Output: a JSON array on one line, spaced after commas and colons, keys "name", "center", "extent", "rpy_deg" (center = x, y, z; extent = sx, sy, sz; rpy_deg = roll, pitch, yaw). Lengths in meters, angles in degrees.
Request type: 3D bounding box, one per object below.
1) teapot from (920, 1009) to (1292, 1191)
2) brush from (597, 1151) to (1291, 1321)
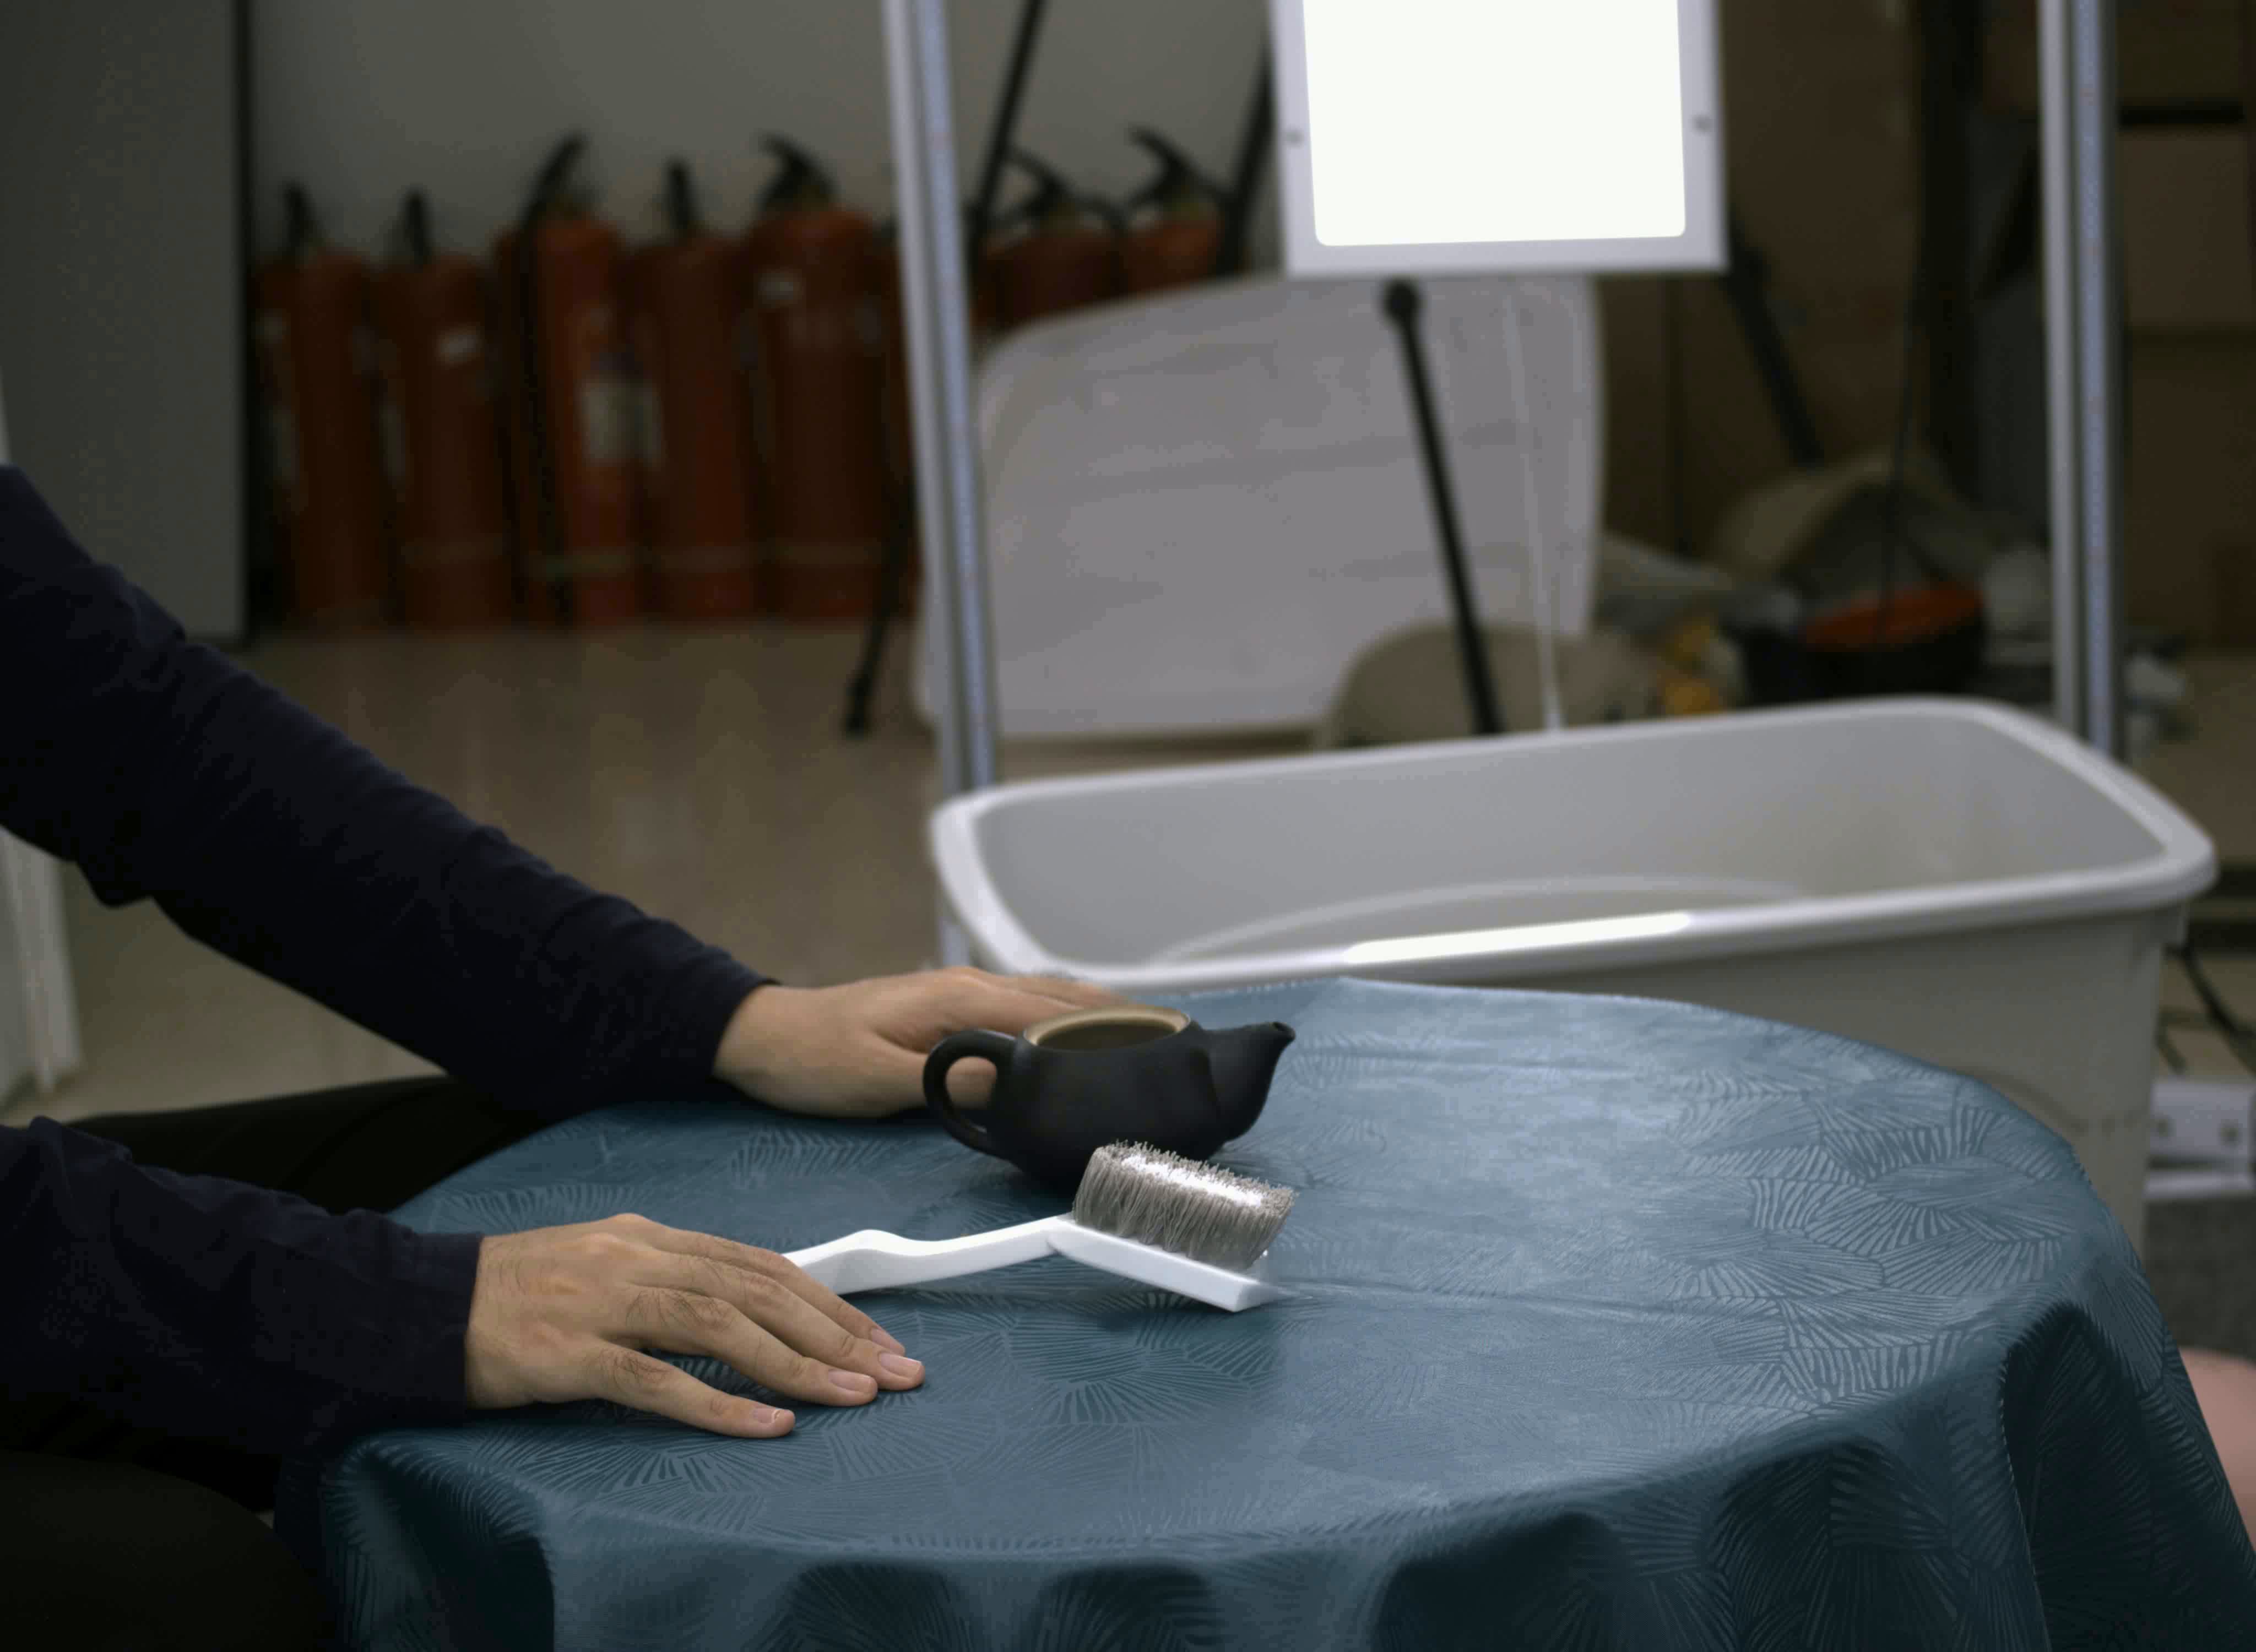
[{"name": "teapot", "center": [-0.007, 0.095, 1.919], "extent": [0.134, 0.053, 0.090], "rpy_deg": [-2, 11, 12]}, {"name": "brush", "center": [-0.064, 0.131, 1.806], "extent": [0.247, 0.050, 0.034], "rpy_deg": [1, 19, 22]}]
